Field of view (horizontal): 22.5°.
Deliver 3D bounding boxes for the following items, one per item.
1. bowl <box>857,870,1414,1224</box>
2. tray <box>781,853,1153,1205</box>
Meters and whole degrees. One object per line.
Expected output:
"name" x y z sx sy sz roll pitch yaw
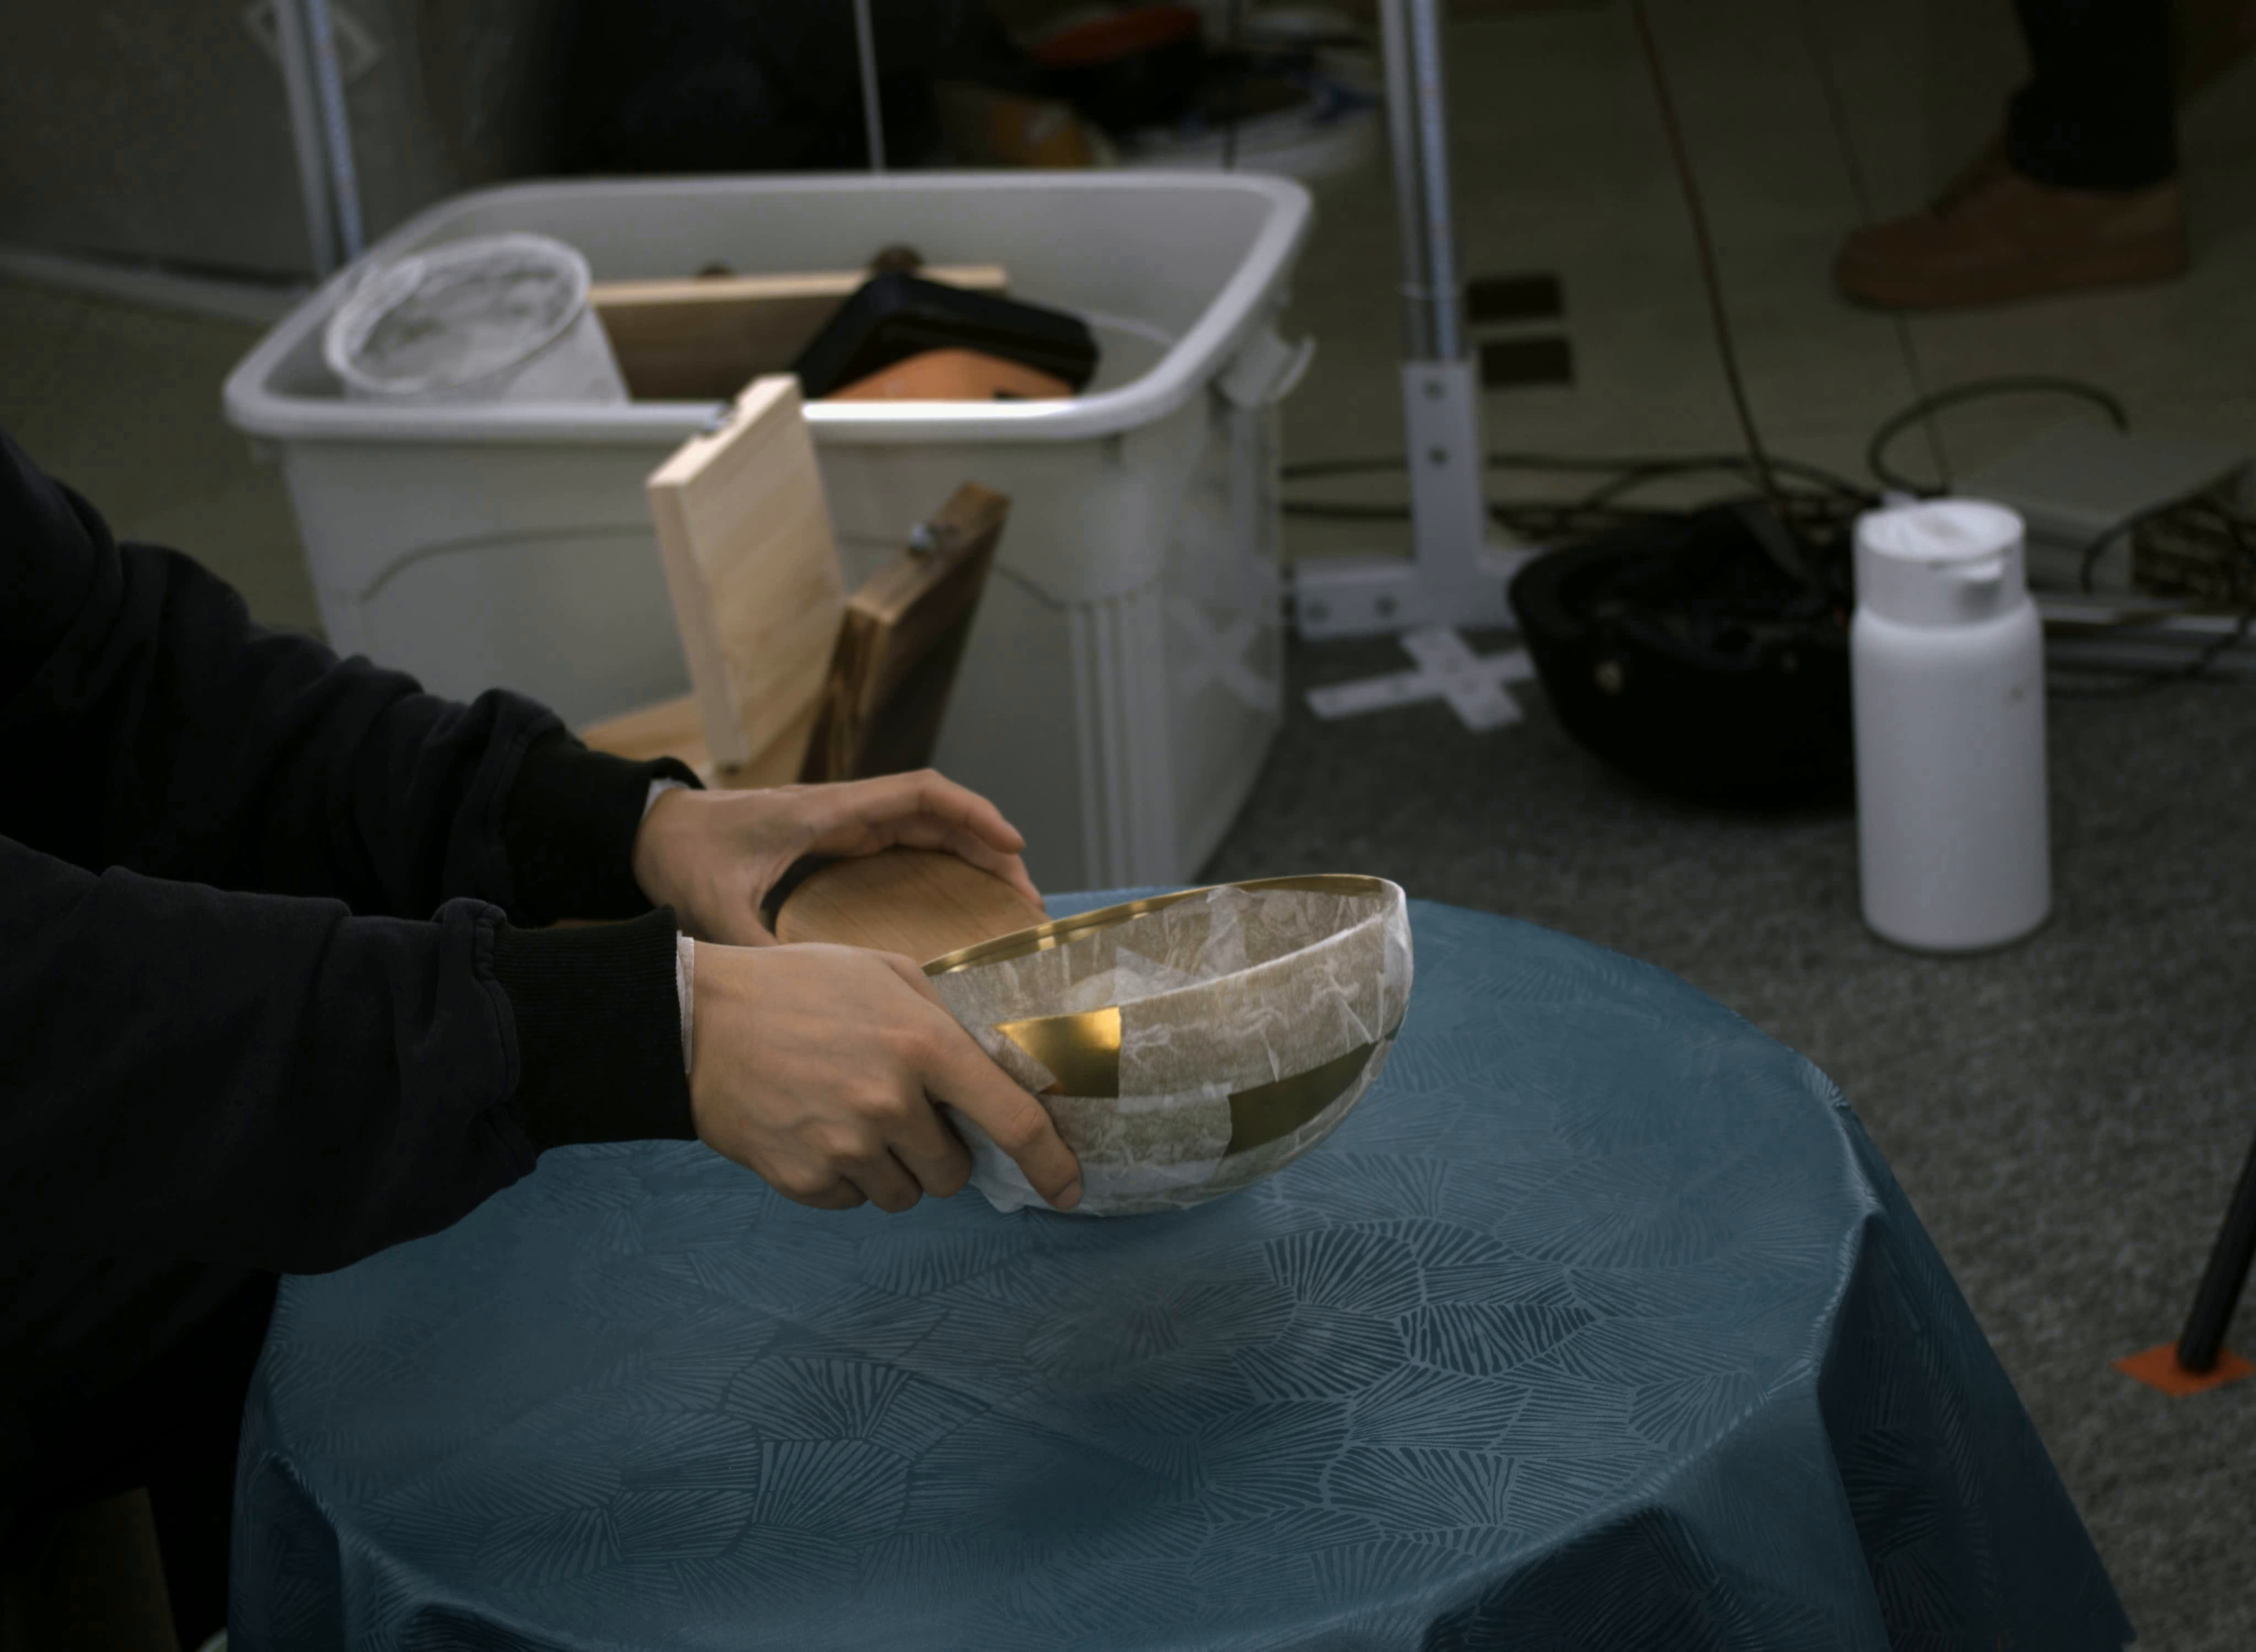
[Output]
"bowl" 0.008 0.087 2.029 0.214 0.095 0.213 -13 10 3
"tray" -0.046 0.079 2.214 0.101 0.021 0.228 -28 48 -29
